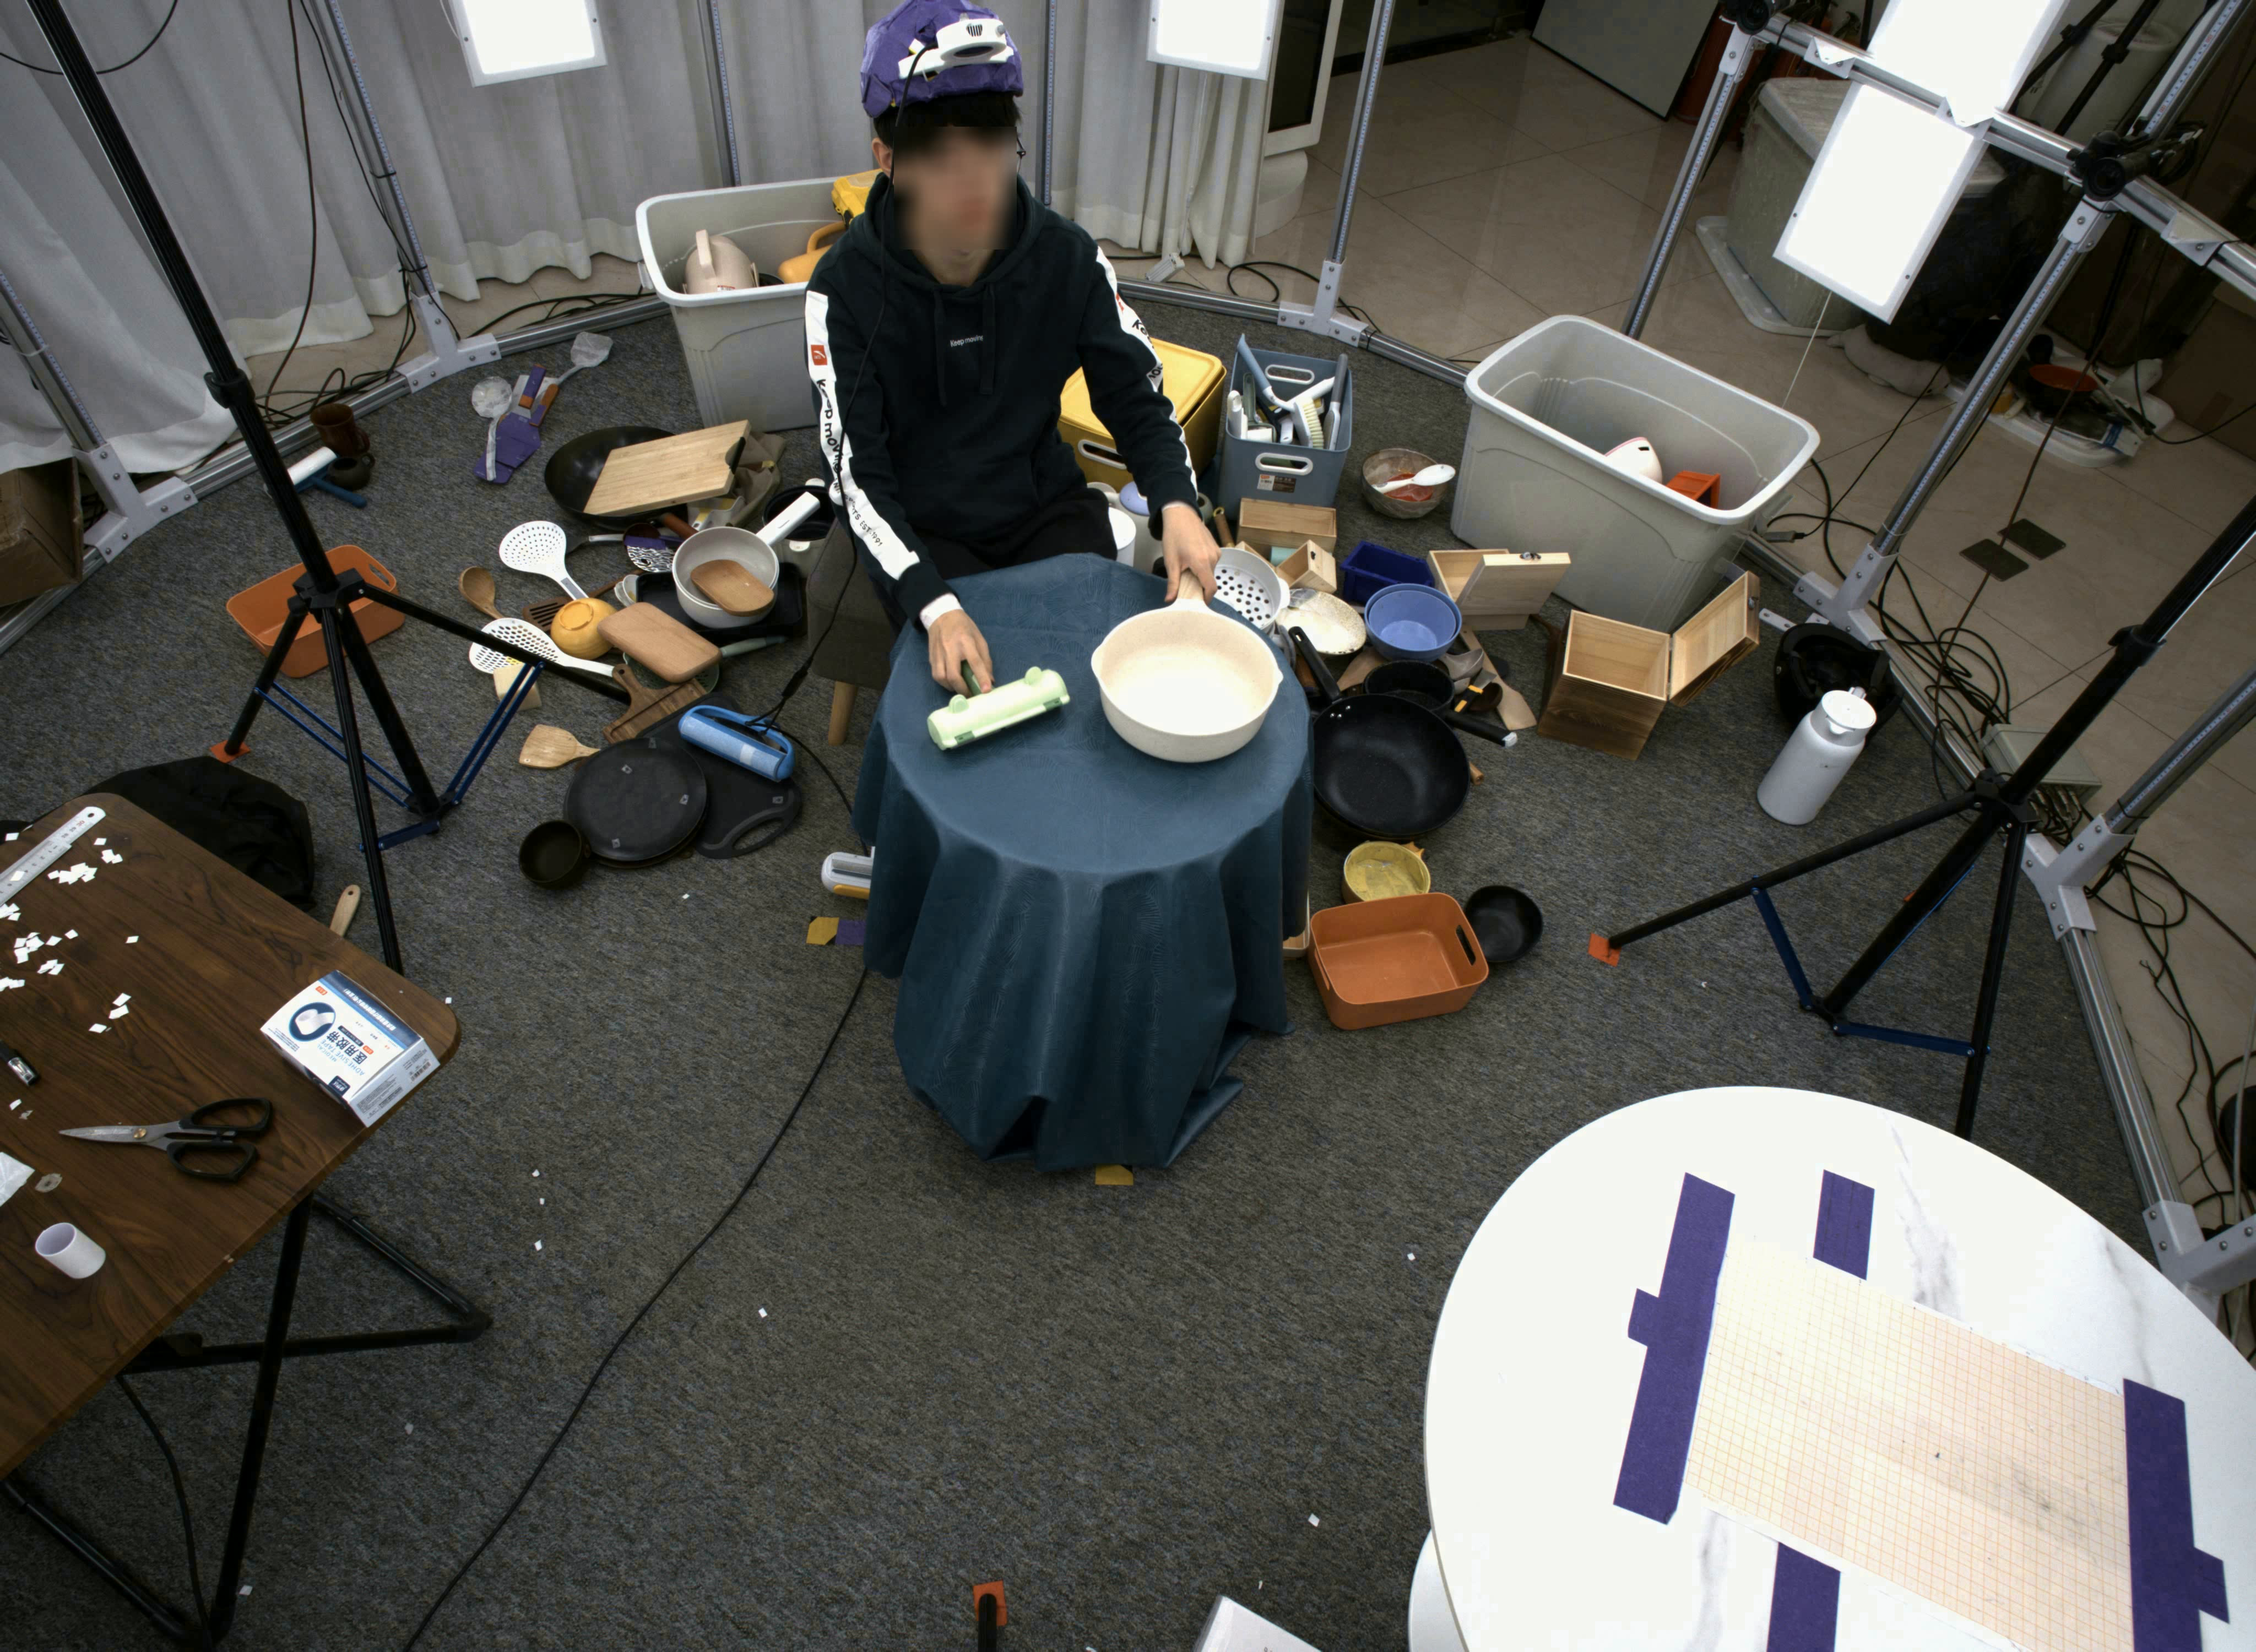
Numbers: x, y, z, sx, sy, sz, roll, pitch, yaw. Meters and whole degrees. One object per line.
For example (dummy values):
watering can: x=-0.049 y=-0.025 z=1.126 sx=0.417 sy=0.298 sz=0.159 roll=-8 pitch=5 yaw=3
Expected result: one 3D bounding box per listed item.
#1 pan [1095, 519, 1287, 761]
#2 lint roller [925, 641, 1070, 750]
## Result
pan: x=0.089 y=-0.266 z=1.841 sx=0.263 sy=0.099 sz=0.446 roll=3 pitch=48 yaw=1
lint roller: x=-0.206 y=-0.207 z=1.778 sx=0.199 sy=0.080 sz=0.186 roll=-24 pitch=63 yaw=-21
